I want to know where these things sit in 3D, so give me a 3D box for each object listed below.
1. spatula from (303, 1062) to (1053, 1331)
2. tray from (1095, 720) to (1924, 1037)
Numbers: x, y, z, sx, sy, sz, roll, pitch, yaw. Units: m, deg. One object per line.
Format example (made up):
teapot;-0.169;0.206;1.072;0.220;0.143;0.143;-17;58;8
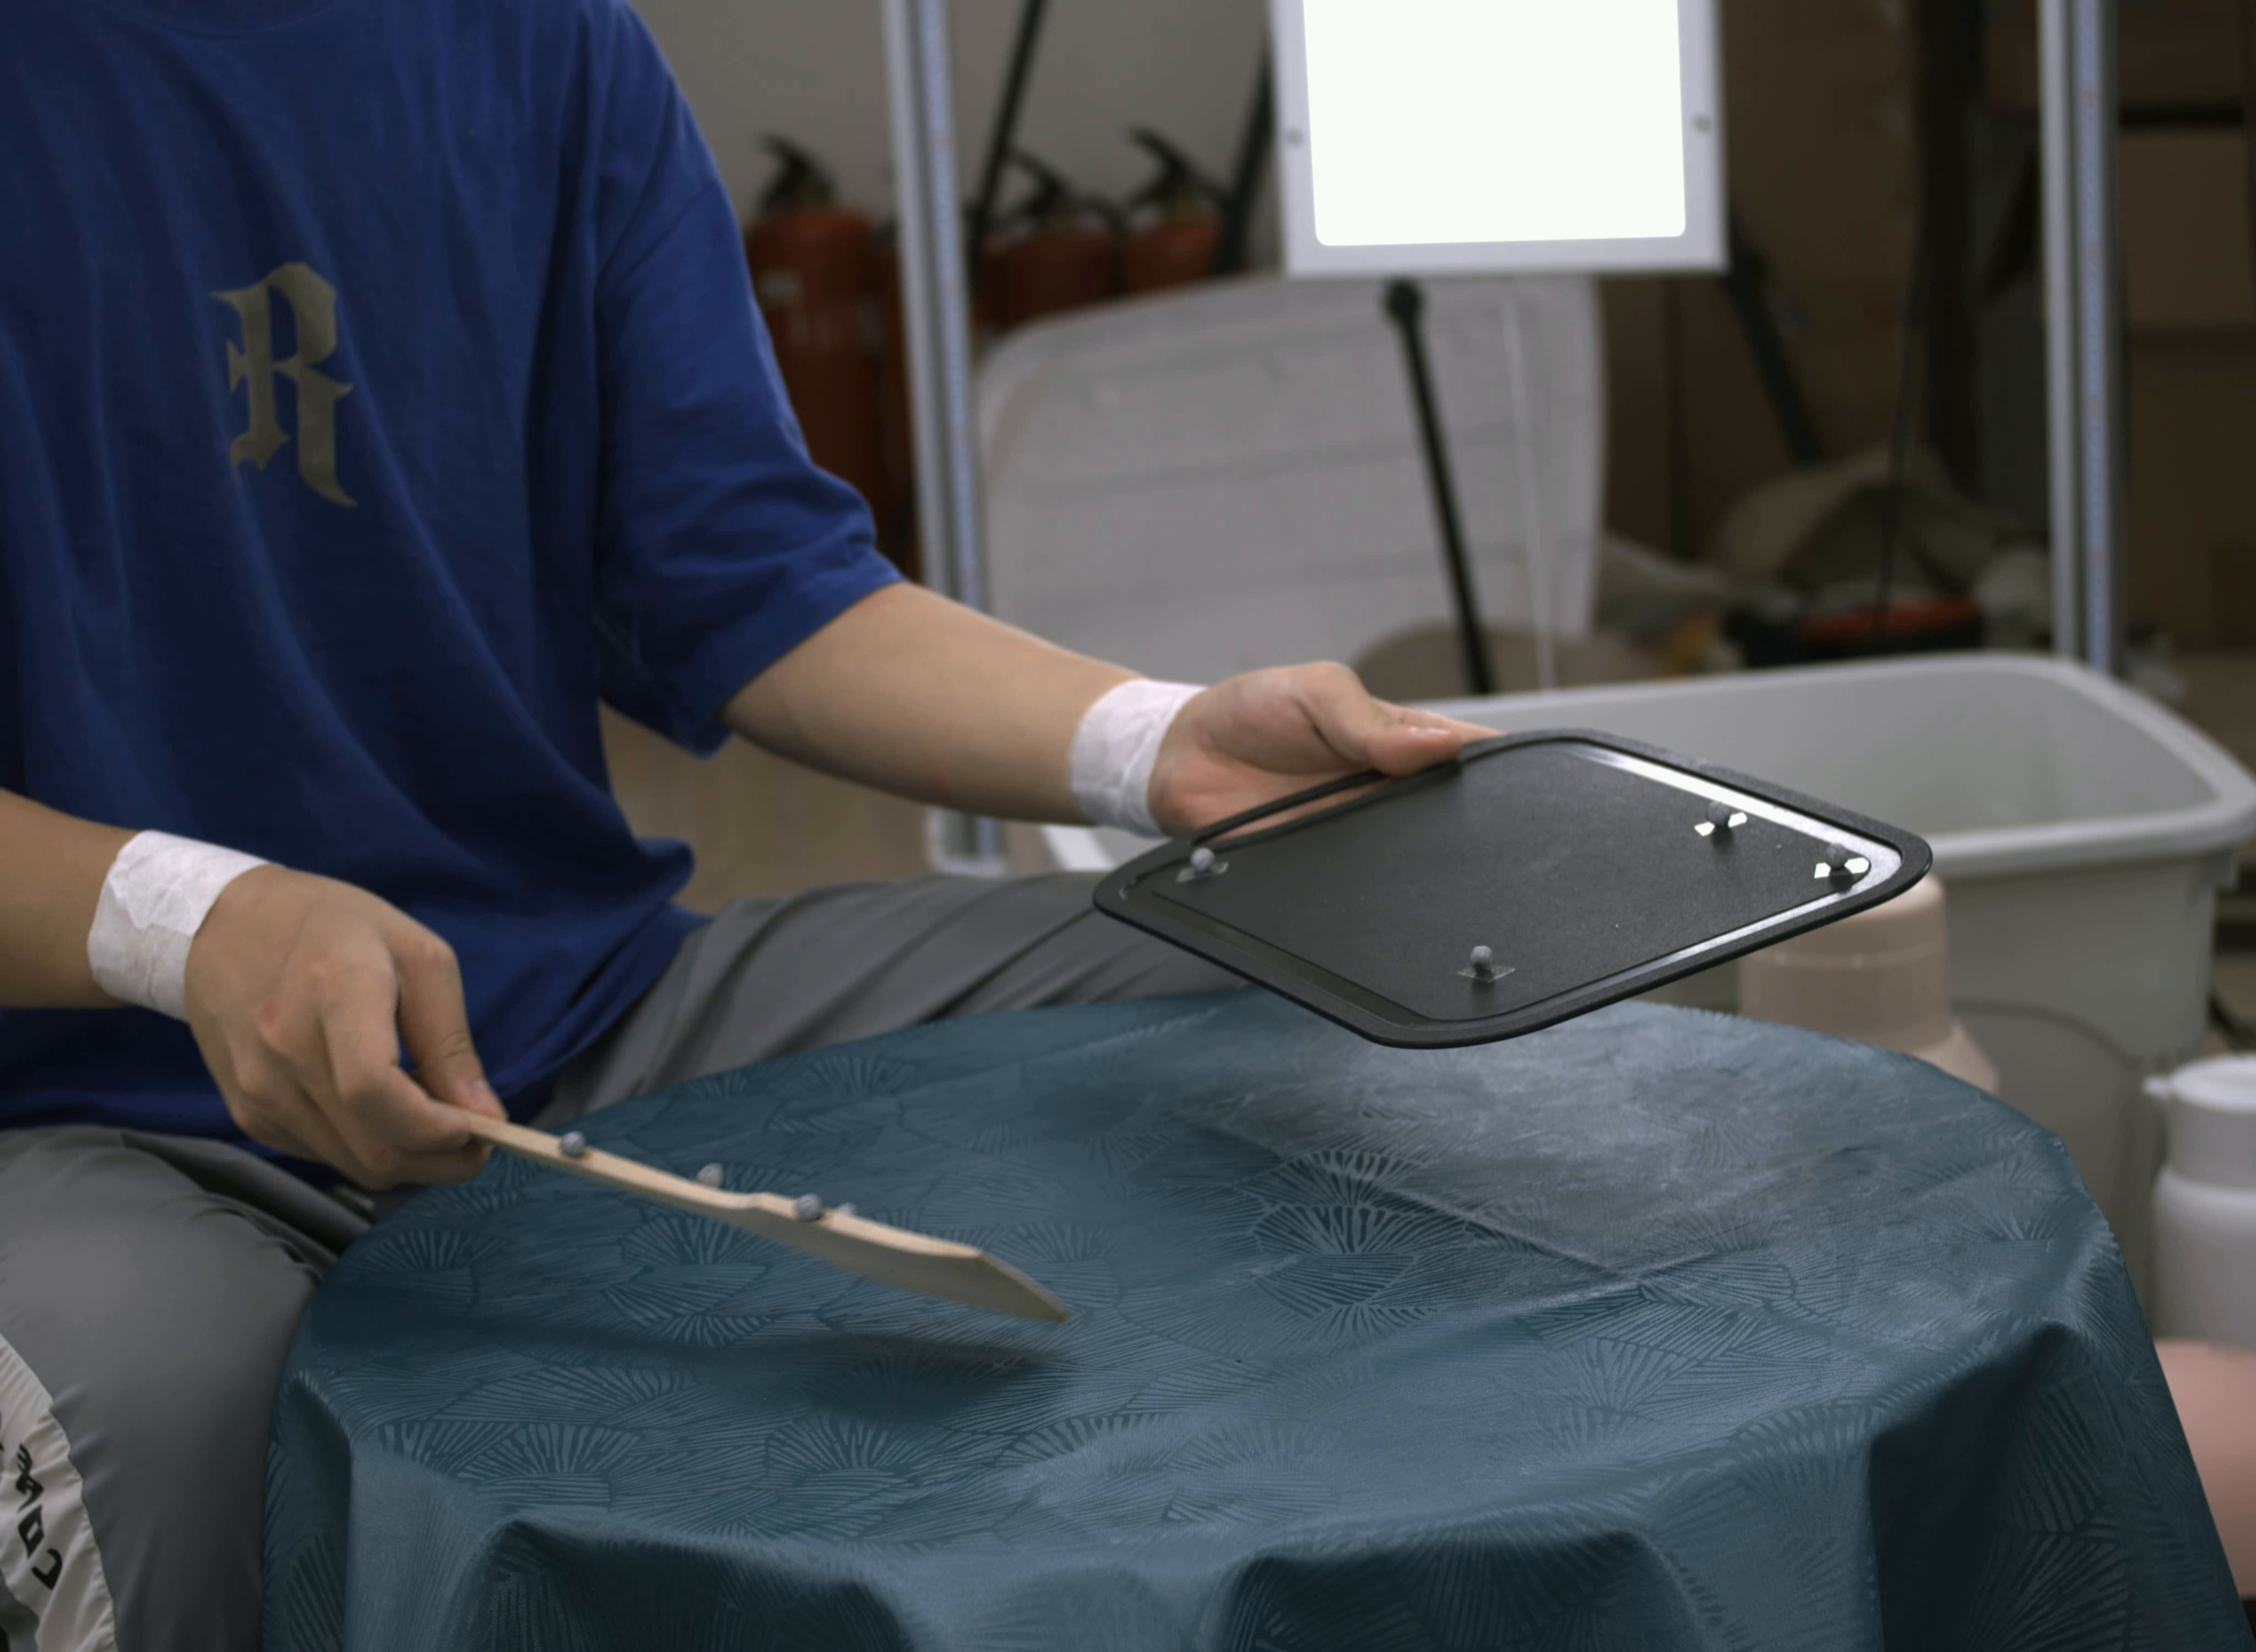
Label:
spatula;-0.157;0.116;1.794;0.298;0.010;0.071;15;-14;34
tray;0.122;0.012;1.905;0.208;0.010;0.330;-20;17;-18
